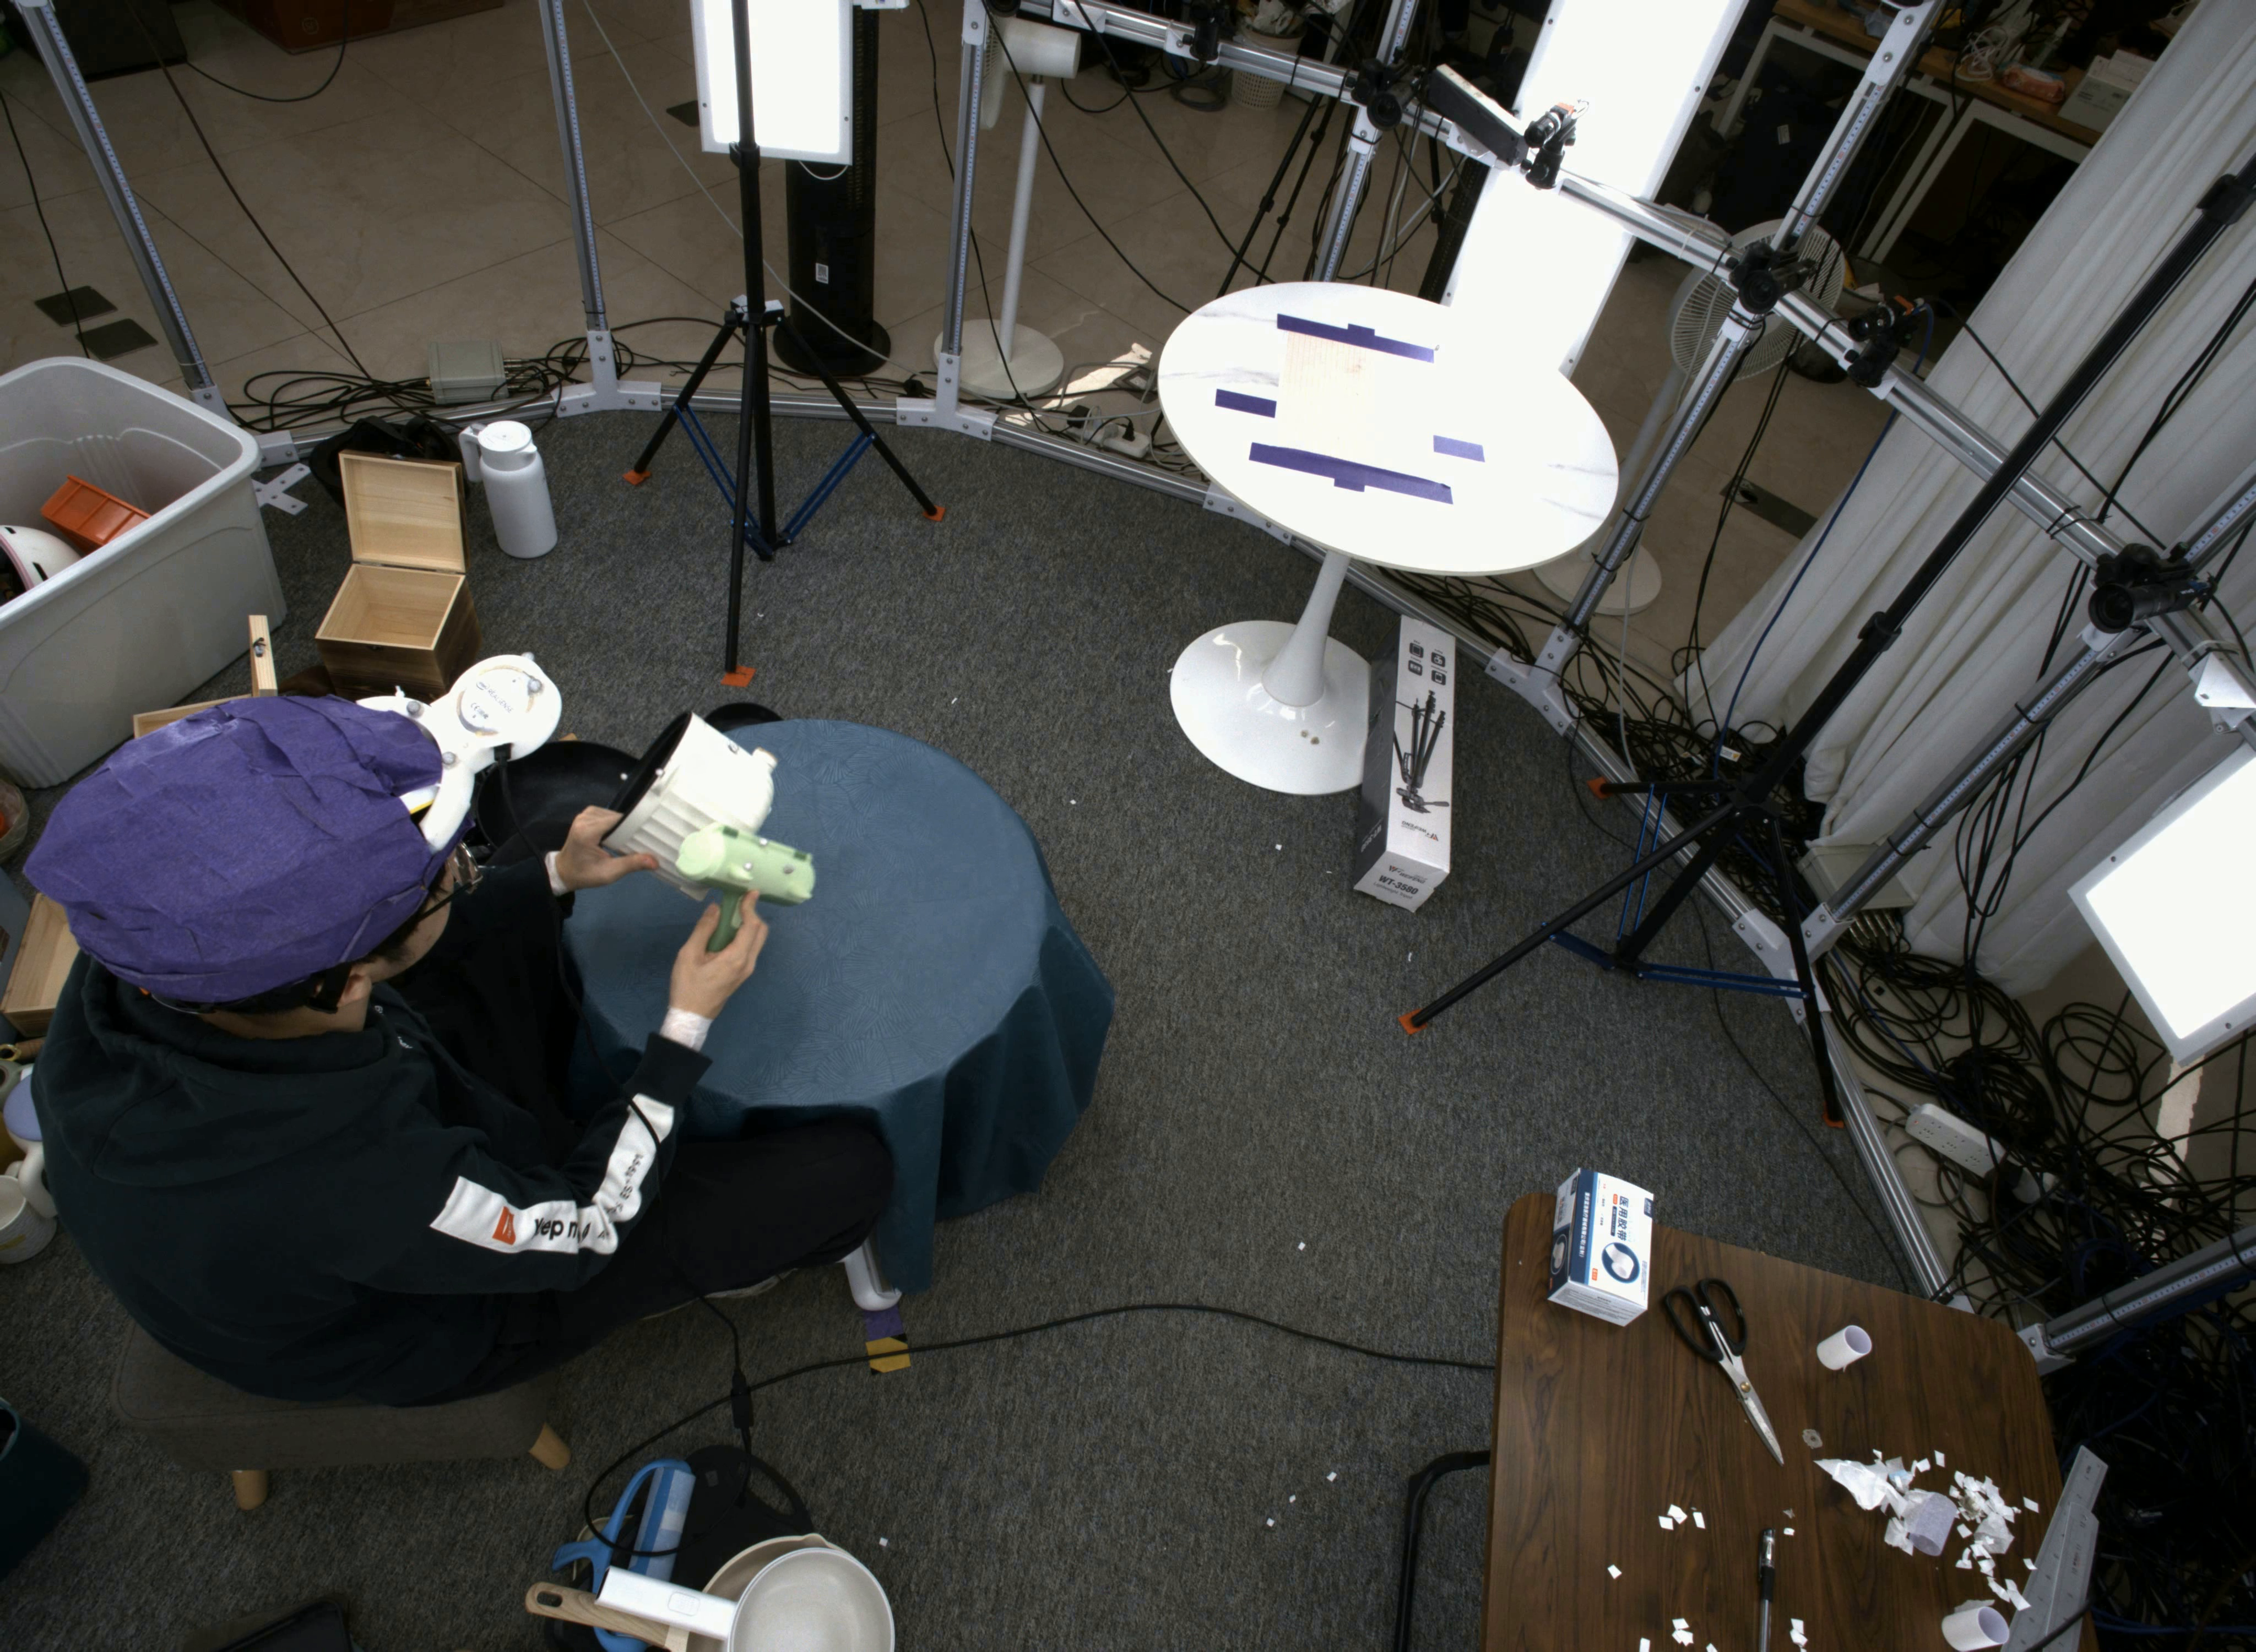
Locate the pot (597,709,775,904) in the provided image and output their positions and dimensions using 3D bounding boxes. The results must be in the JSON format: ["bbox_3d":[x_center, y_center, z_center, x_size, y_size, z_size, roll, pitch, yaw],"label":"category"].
[{"bbox_3d":[-0.501,-0.025,1.477,0.146,0.233,0.190,34,73,-28],"label":"pot"}]

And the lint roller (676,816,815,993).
[{"bbox_3d":[-0.423,0.097,1.418,0.080,0.203,0.184,11,82,21],"label":"lint roller"}]
